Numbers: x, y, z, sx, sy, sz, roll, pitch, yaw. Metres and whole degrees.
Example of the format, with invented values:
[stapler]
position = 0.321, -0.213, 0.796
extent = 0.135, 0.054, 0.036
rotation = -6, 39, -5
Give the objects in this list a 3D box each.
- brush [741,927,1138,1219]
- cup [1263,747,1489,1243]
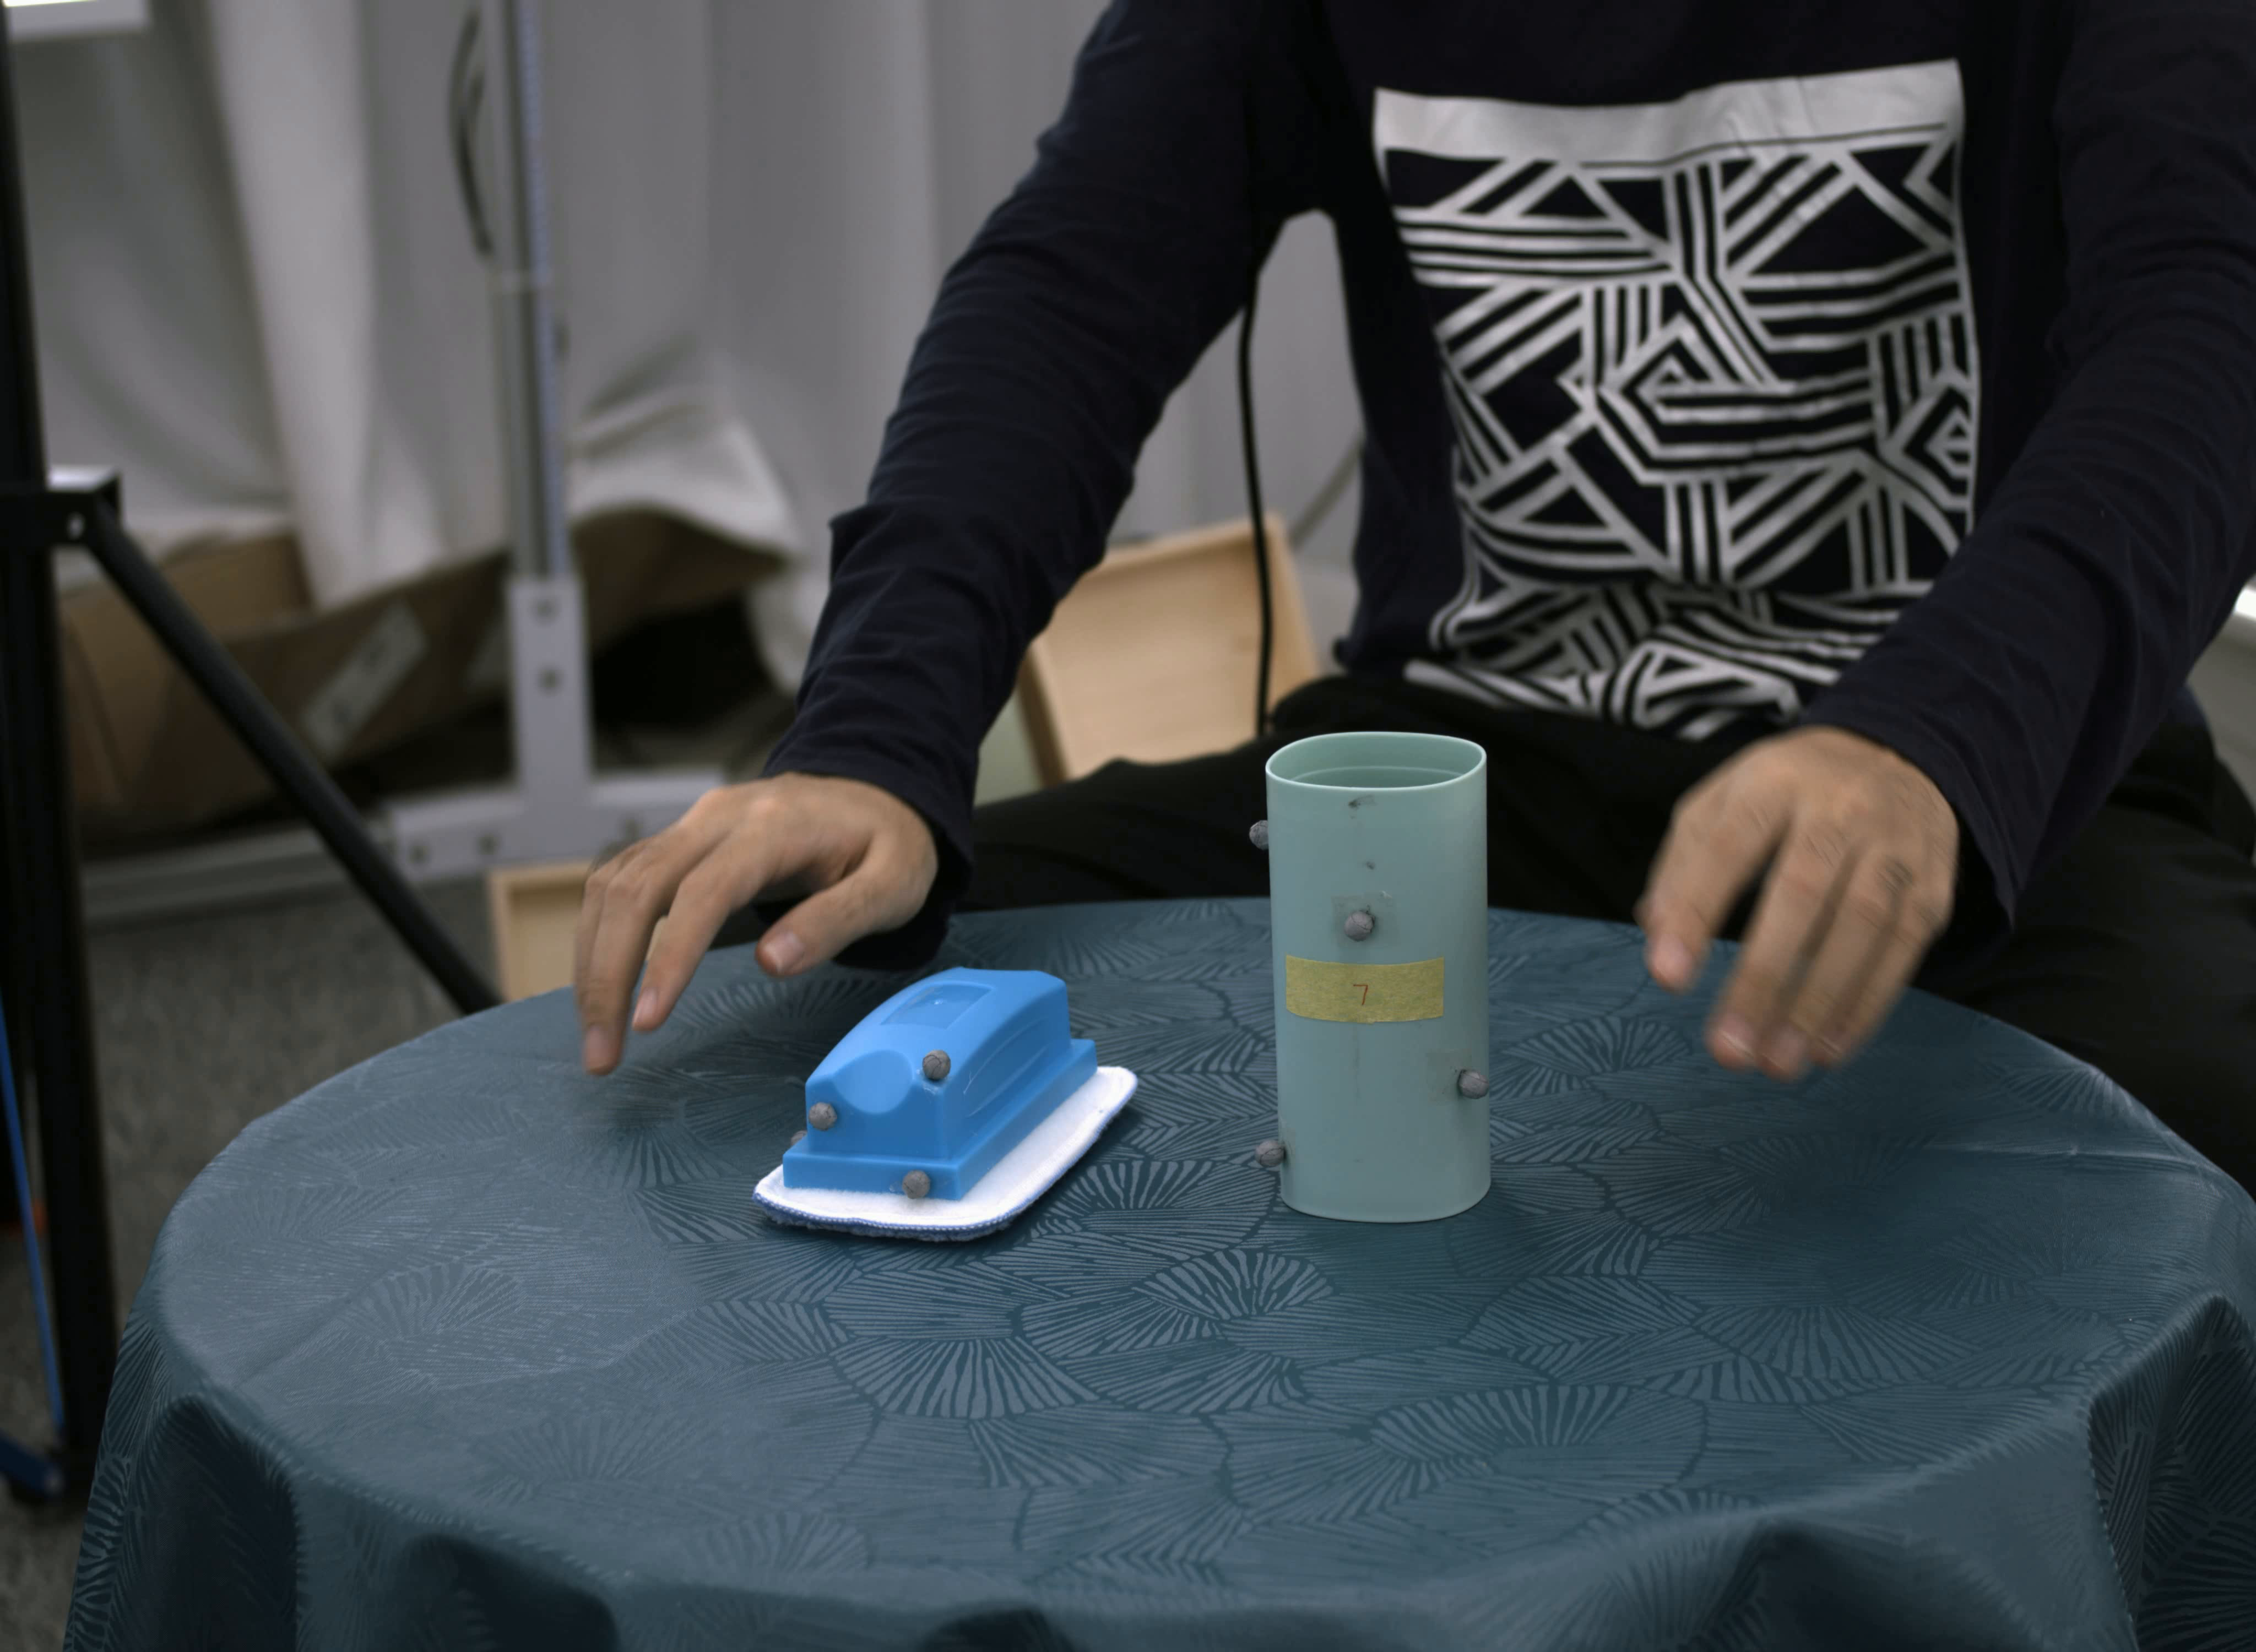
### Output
[brush]
position = -0.054, 0.070, 1.592
extent = 0.085, 0.056, 0.142
rotation = 7, 21, 21
[cup]
position = 0.074, 0.048, 1.540
extent = 0.066, 0.132, 0.067
rotation = -2, 14, -1
